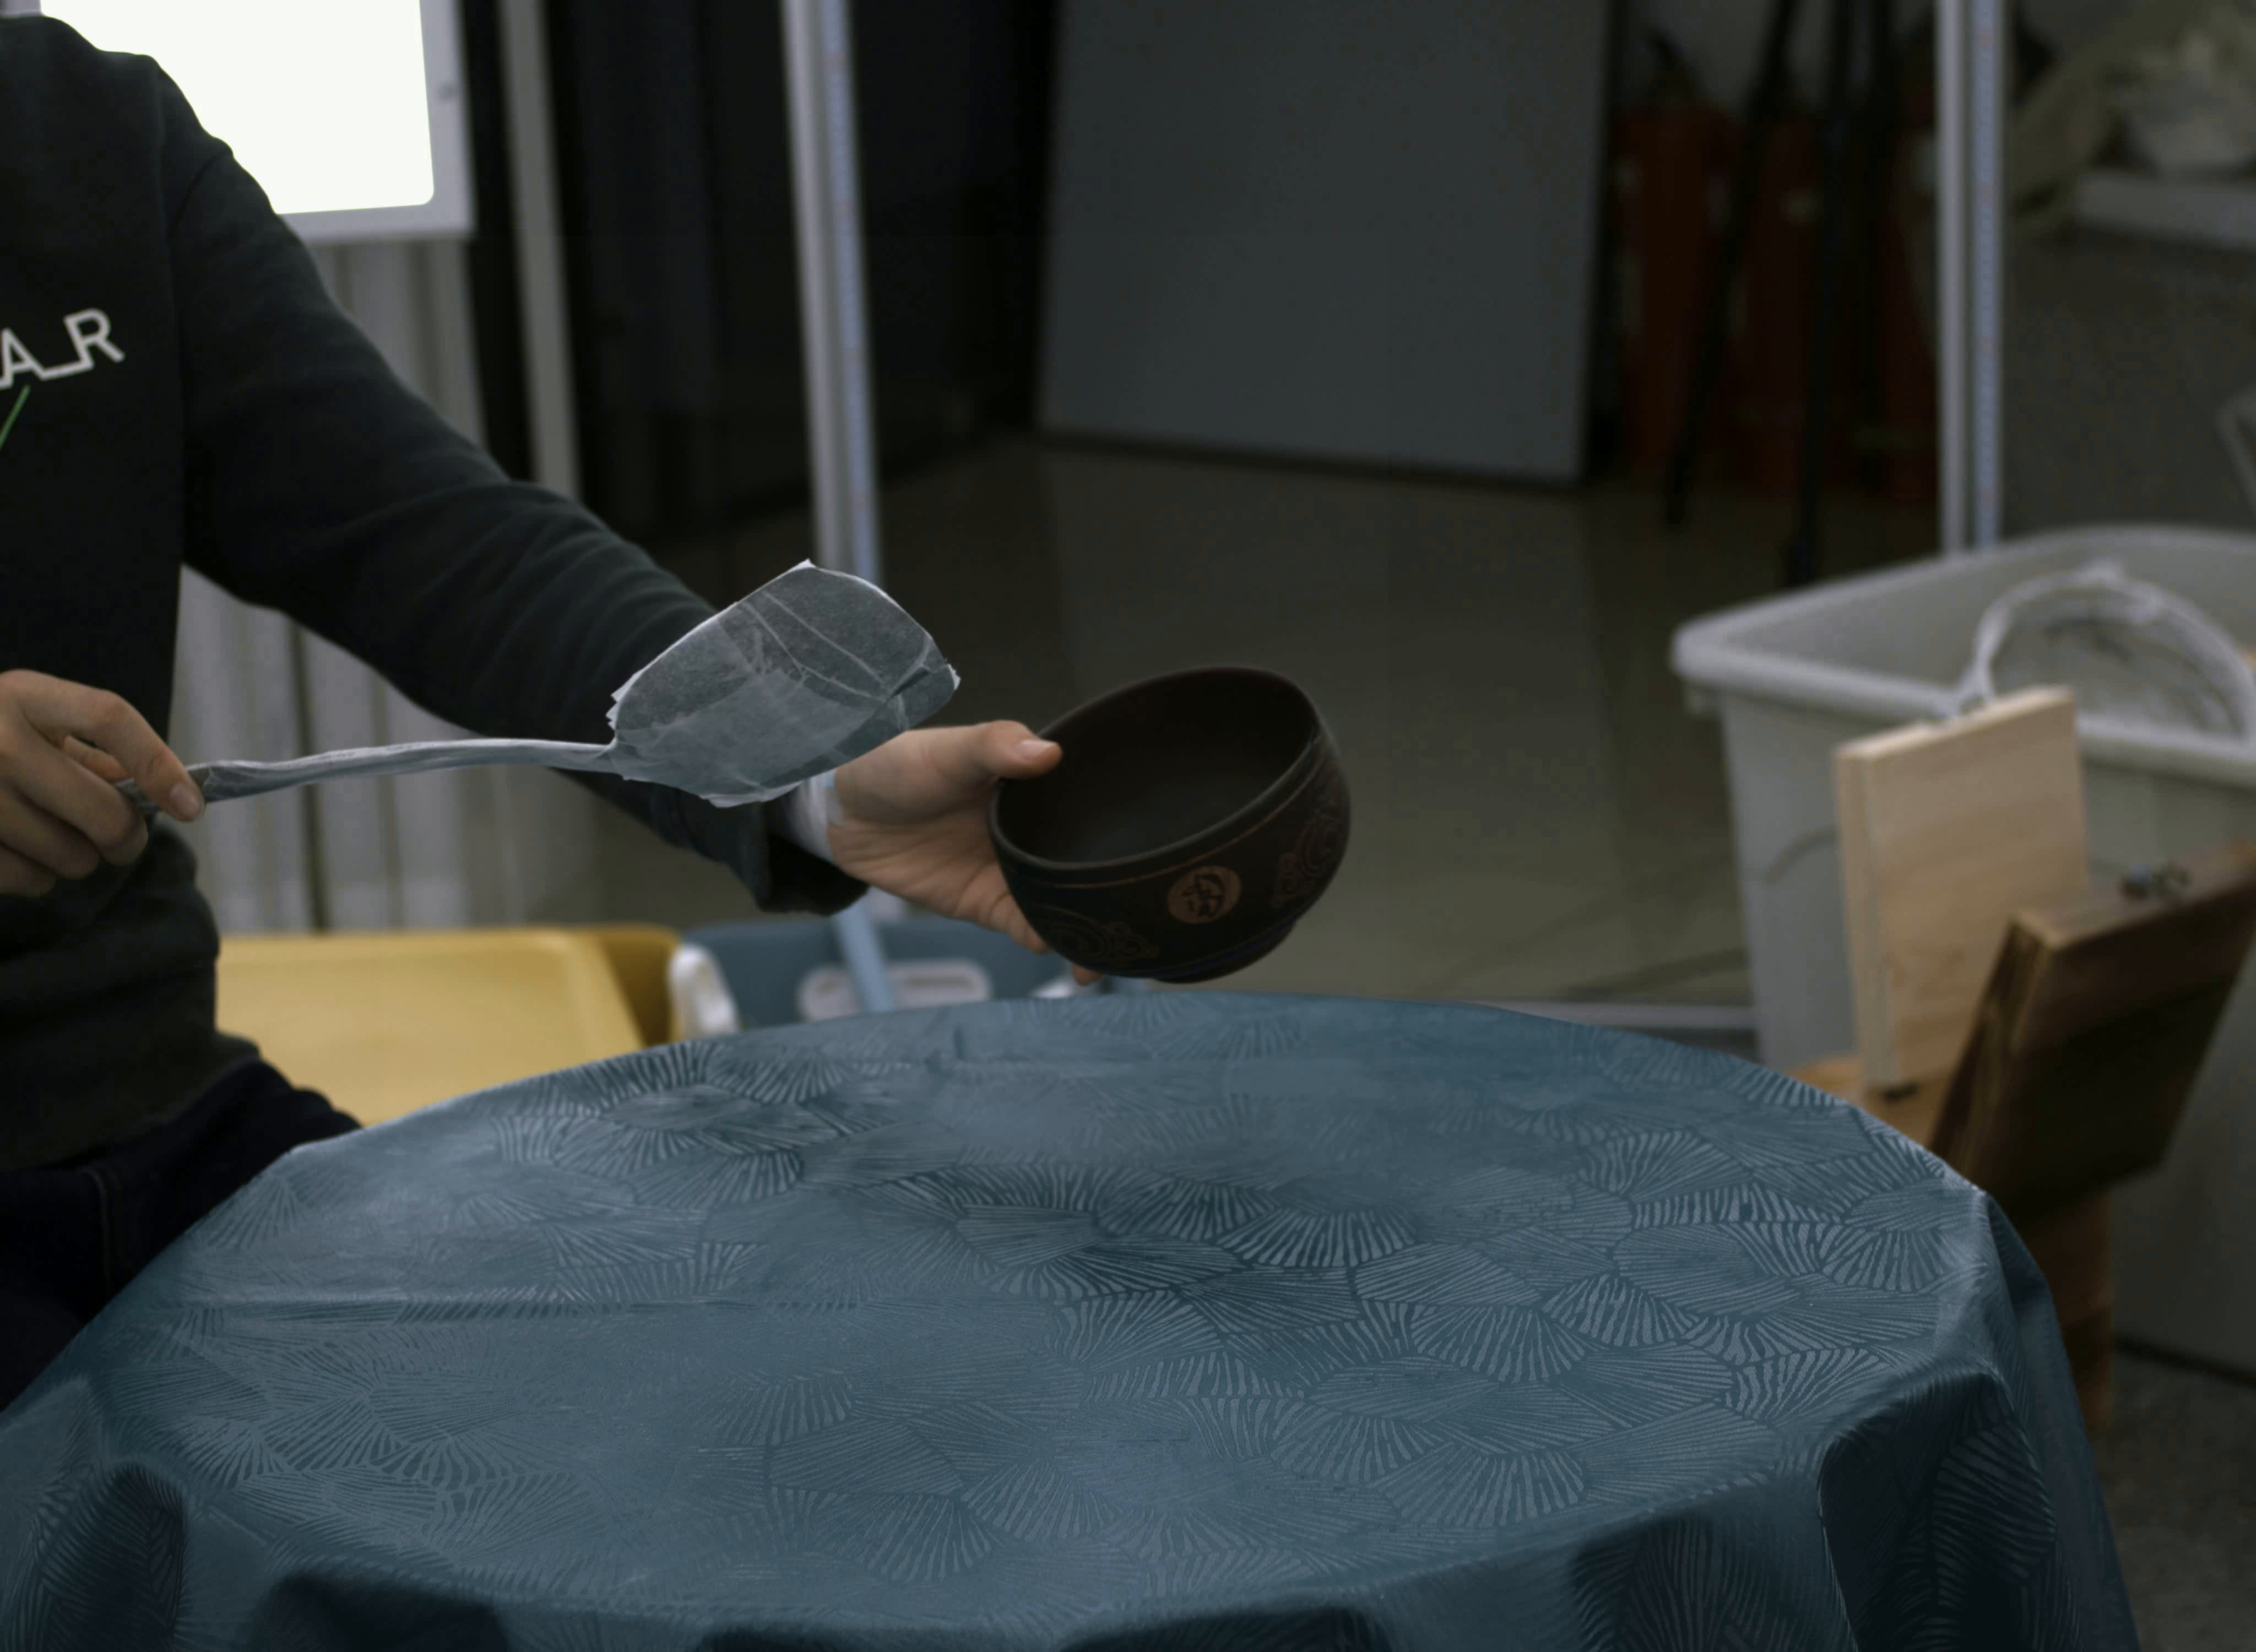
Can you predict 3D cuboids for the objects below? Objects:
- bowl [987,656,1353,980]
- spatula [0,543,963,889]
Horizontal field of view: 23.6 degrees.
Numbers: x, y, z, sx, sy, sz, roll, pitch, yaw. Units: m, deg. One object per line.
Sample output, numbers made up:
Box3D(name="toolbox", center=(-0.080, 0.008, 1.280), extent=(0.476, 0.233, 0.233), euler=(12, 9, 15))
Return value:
Box3D(name="bowl", center=(0.019, 0.005, 1.741), extent=(0.117, 0.070, 0.118), euler=(-18, 27, 8))
Box3D(name="spatula", center=(-0.223, -0.023, 1.702), extent=(0.365, 0.045, 0.097), euler=(-9, -28, 26))
